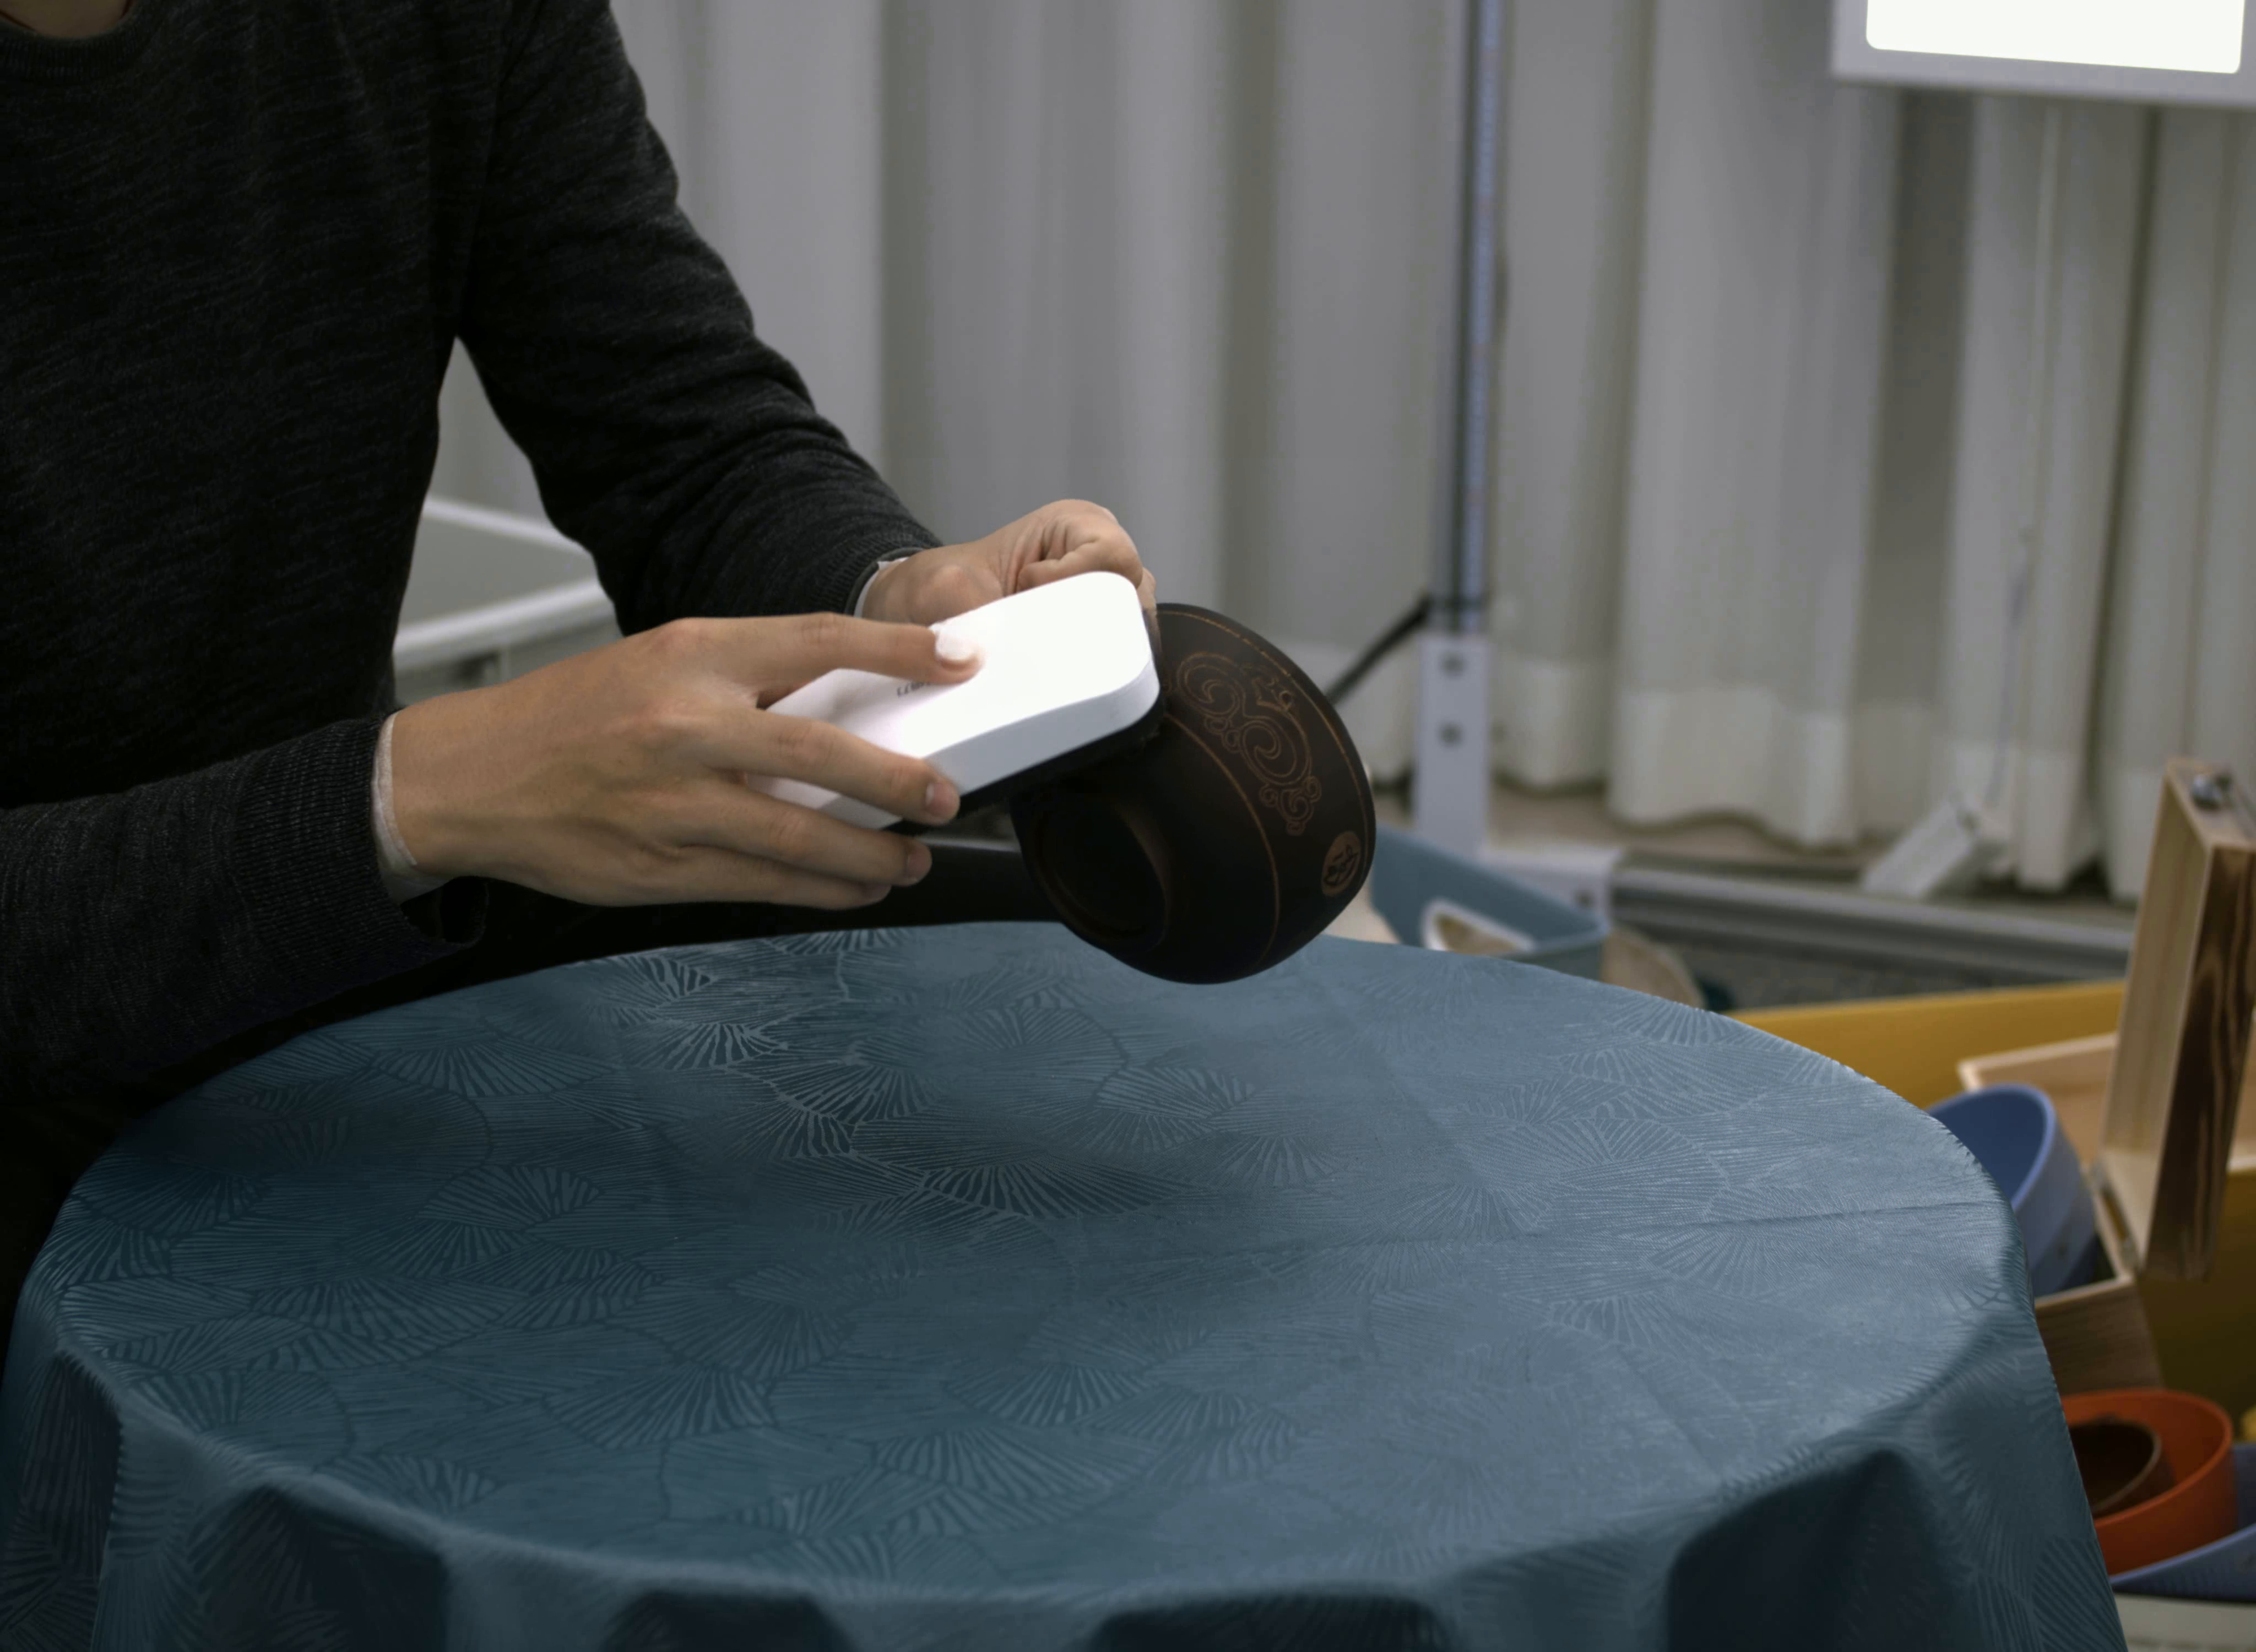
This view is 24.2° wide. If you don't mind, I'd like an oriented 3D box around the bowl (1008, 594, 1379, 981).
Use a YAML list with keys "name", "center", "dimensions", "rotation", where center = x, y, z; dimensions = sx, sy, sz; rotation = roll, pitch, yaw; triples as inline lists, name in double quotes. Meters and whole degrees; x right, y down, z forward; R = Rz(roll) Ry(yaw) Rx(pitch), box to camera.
- name: "bowl"
  center: [0.011, -0.004, 1.596]
  dimensions: [0.116, 0.119, 0.070]
  rotation: [14, 40, 38]

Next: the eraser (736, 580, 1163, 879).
- name: "eraser"
  center: [-0.054, -0.031, 1.553]
  dimensions: [0.131, 0.035, 0.063]
  rotation: [-20, 38, 10]
